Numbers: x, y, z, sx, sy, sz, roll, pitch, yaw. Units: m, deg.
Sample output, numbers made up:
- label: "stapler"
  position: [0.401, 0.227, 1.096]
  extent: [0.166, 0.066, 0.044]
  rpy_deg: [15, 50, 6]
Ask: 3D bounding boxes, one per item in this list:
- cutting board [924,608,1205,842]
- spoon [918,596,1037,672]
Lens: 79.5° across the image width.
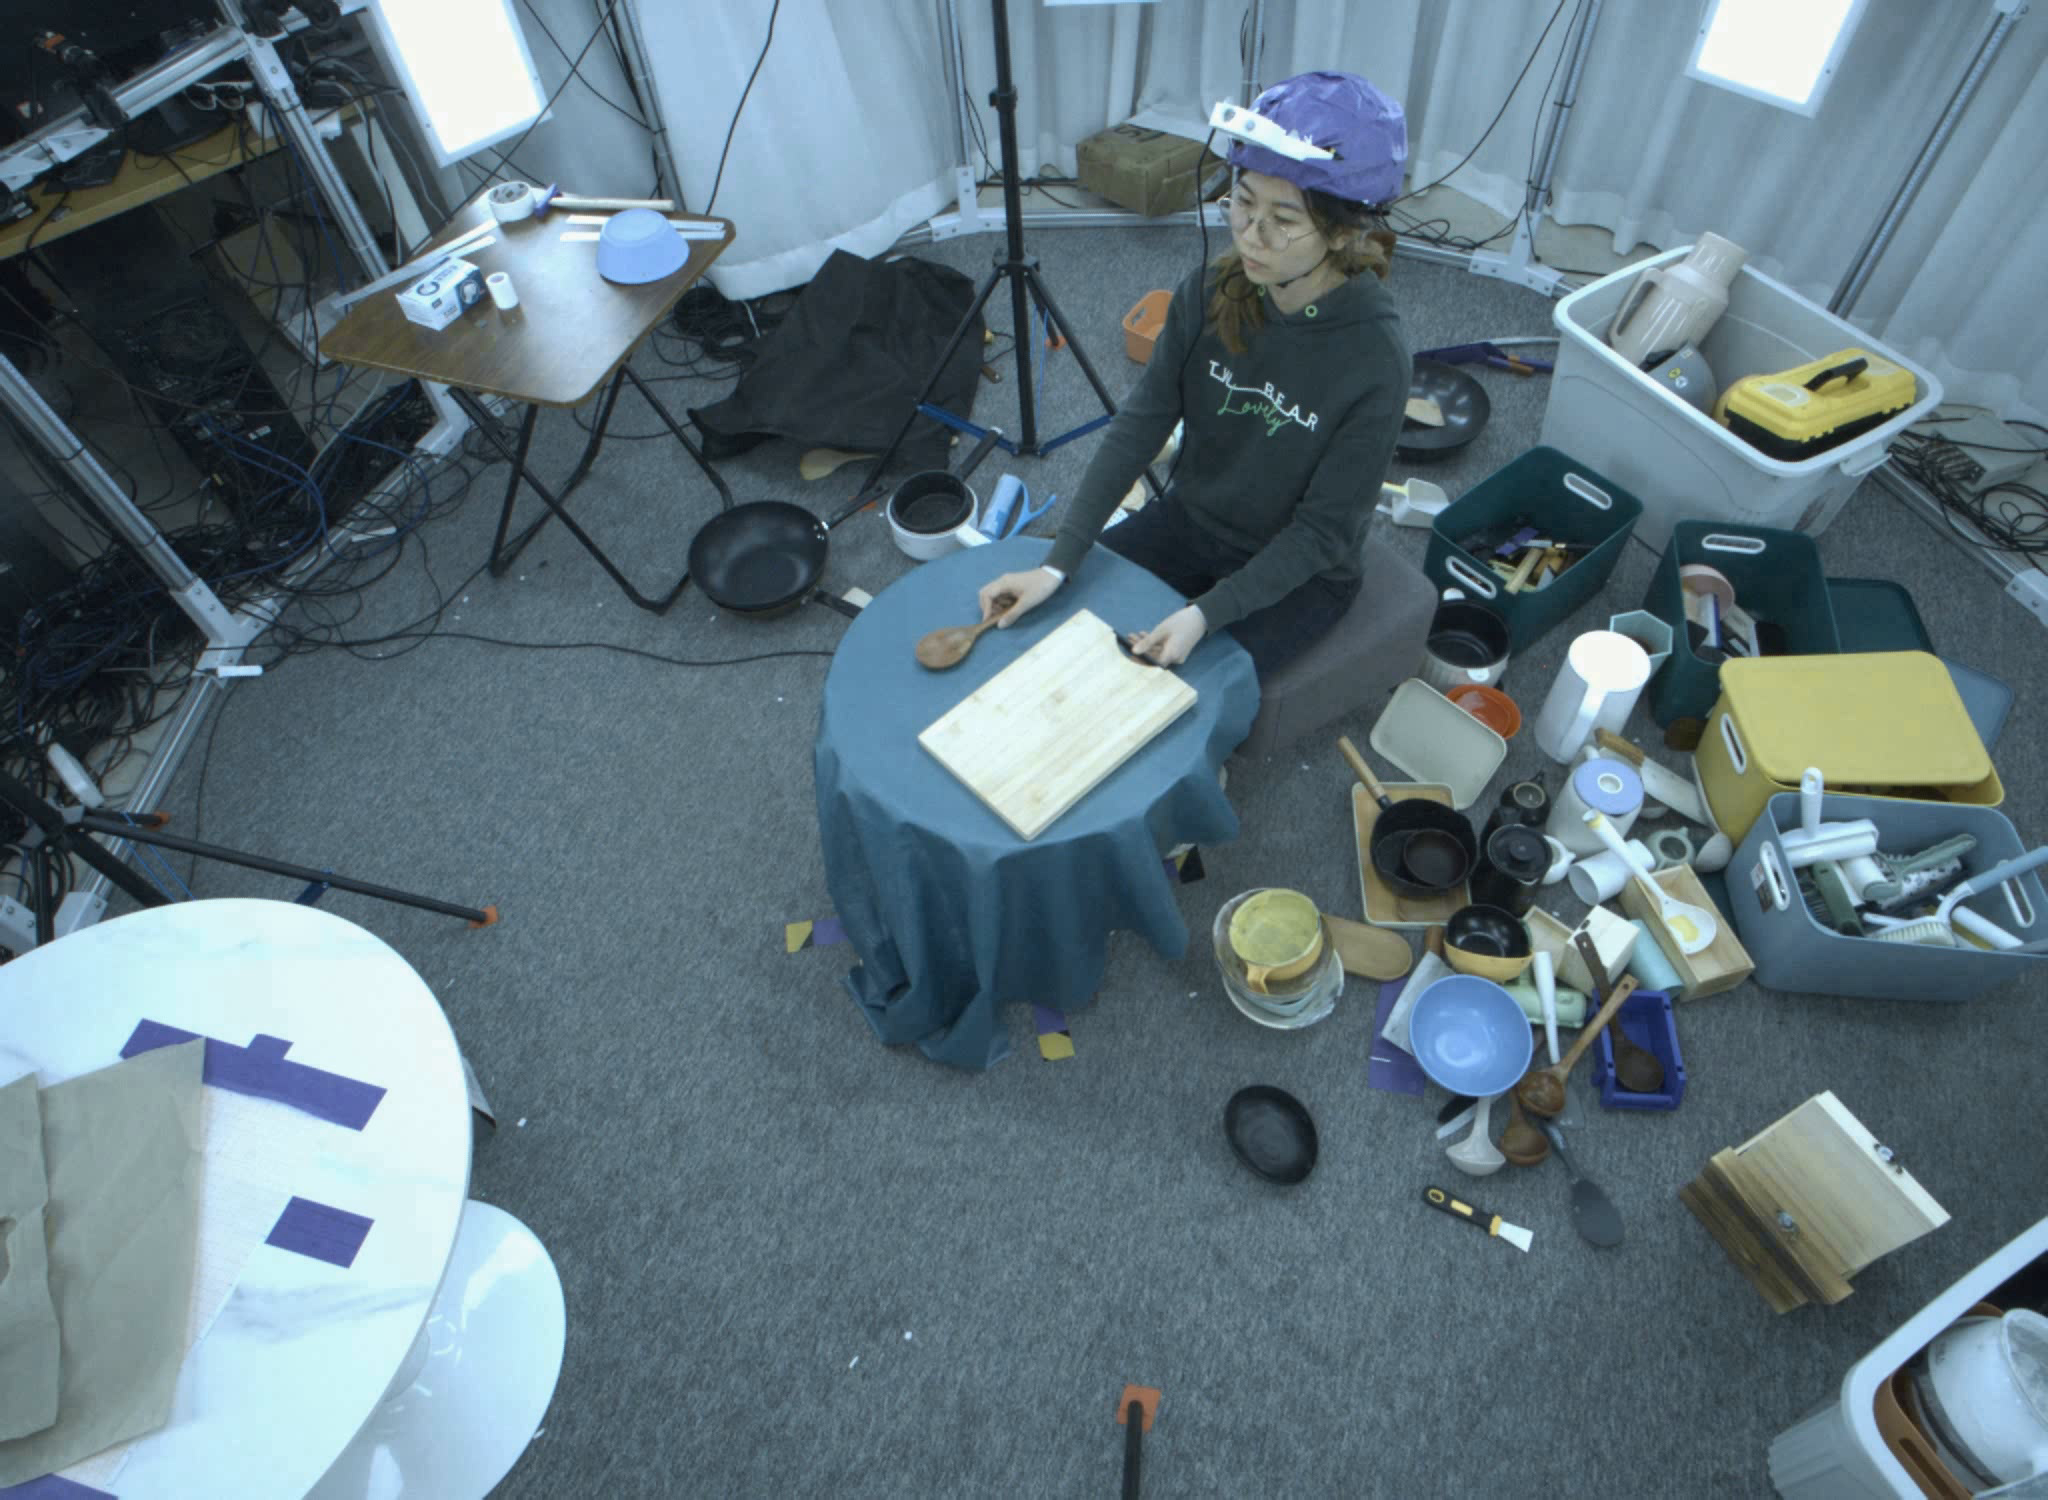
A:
- label: "cutting board"
  position: [0.058, -0.046, 1.809]
  extent: [0.351, 0.024, 0.246]
  rpy_deg: [-40, 63, -20]
- label: "spoon"
  position: [-0.070, -0.183, 1.917]
  extent: [0.217, 0.017, 0.074]
  rpy_deg: [-32, 58, -19]
